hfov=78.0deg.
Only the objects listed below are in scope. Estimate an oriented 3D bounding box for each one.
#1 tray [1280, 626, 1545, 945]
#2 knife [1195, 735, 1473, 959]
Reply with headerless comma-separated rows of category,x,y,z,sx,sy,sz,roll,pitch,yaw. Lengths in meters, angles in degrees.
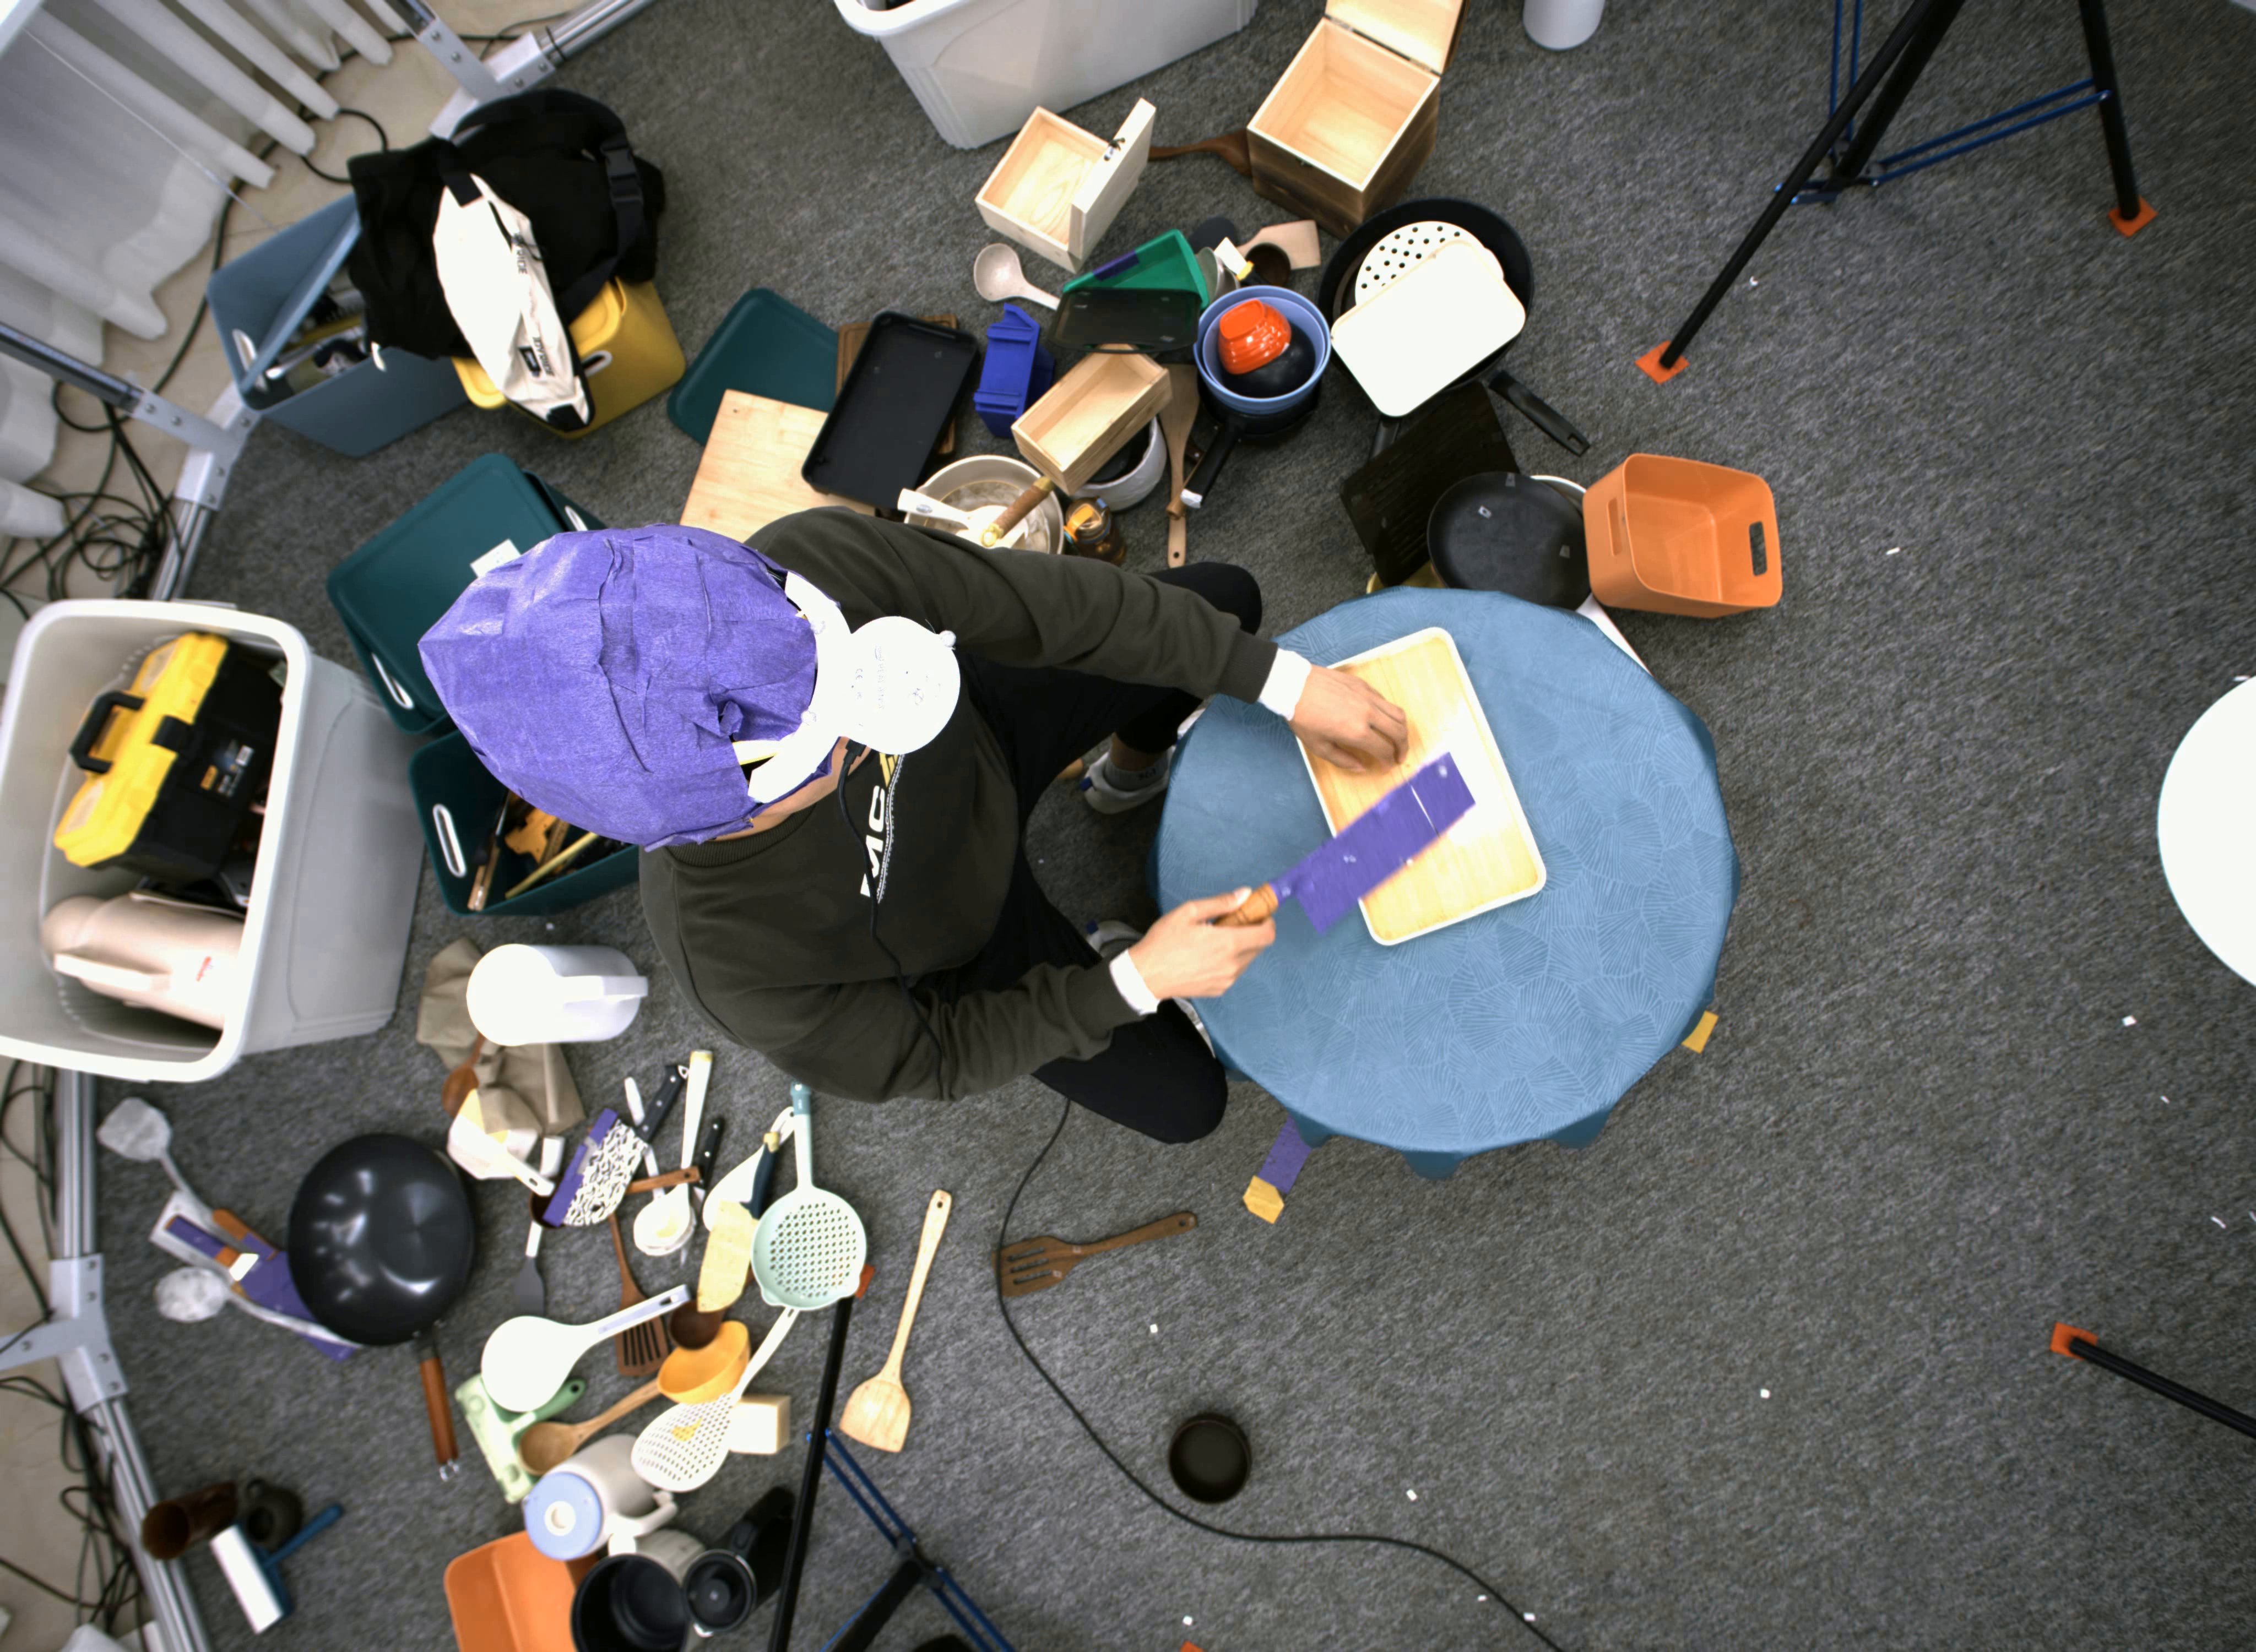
tray,0.297,-0.044,1.447,0.193,0.027,0.298,-21,83,9
knife,0.209,0.040,1.351,0.316,0.105,0.031,-38,38,1
